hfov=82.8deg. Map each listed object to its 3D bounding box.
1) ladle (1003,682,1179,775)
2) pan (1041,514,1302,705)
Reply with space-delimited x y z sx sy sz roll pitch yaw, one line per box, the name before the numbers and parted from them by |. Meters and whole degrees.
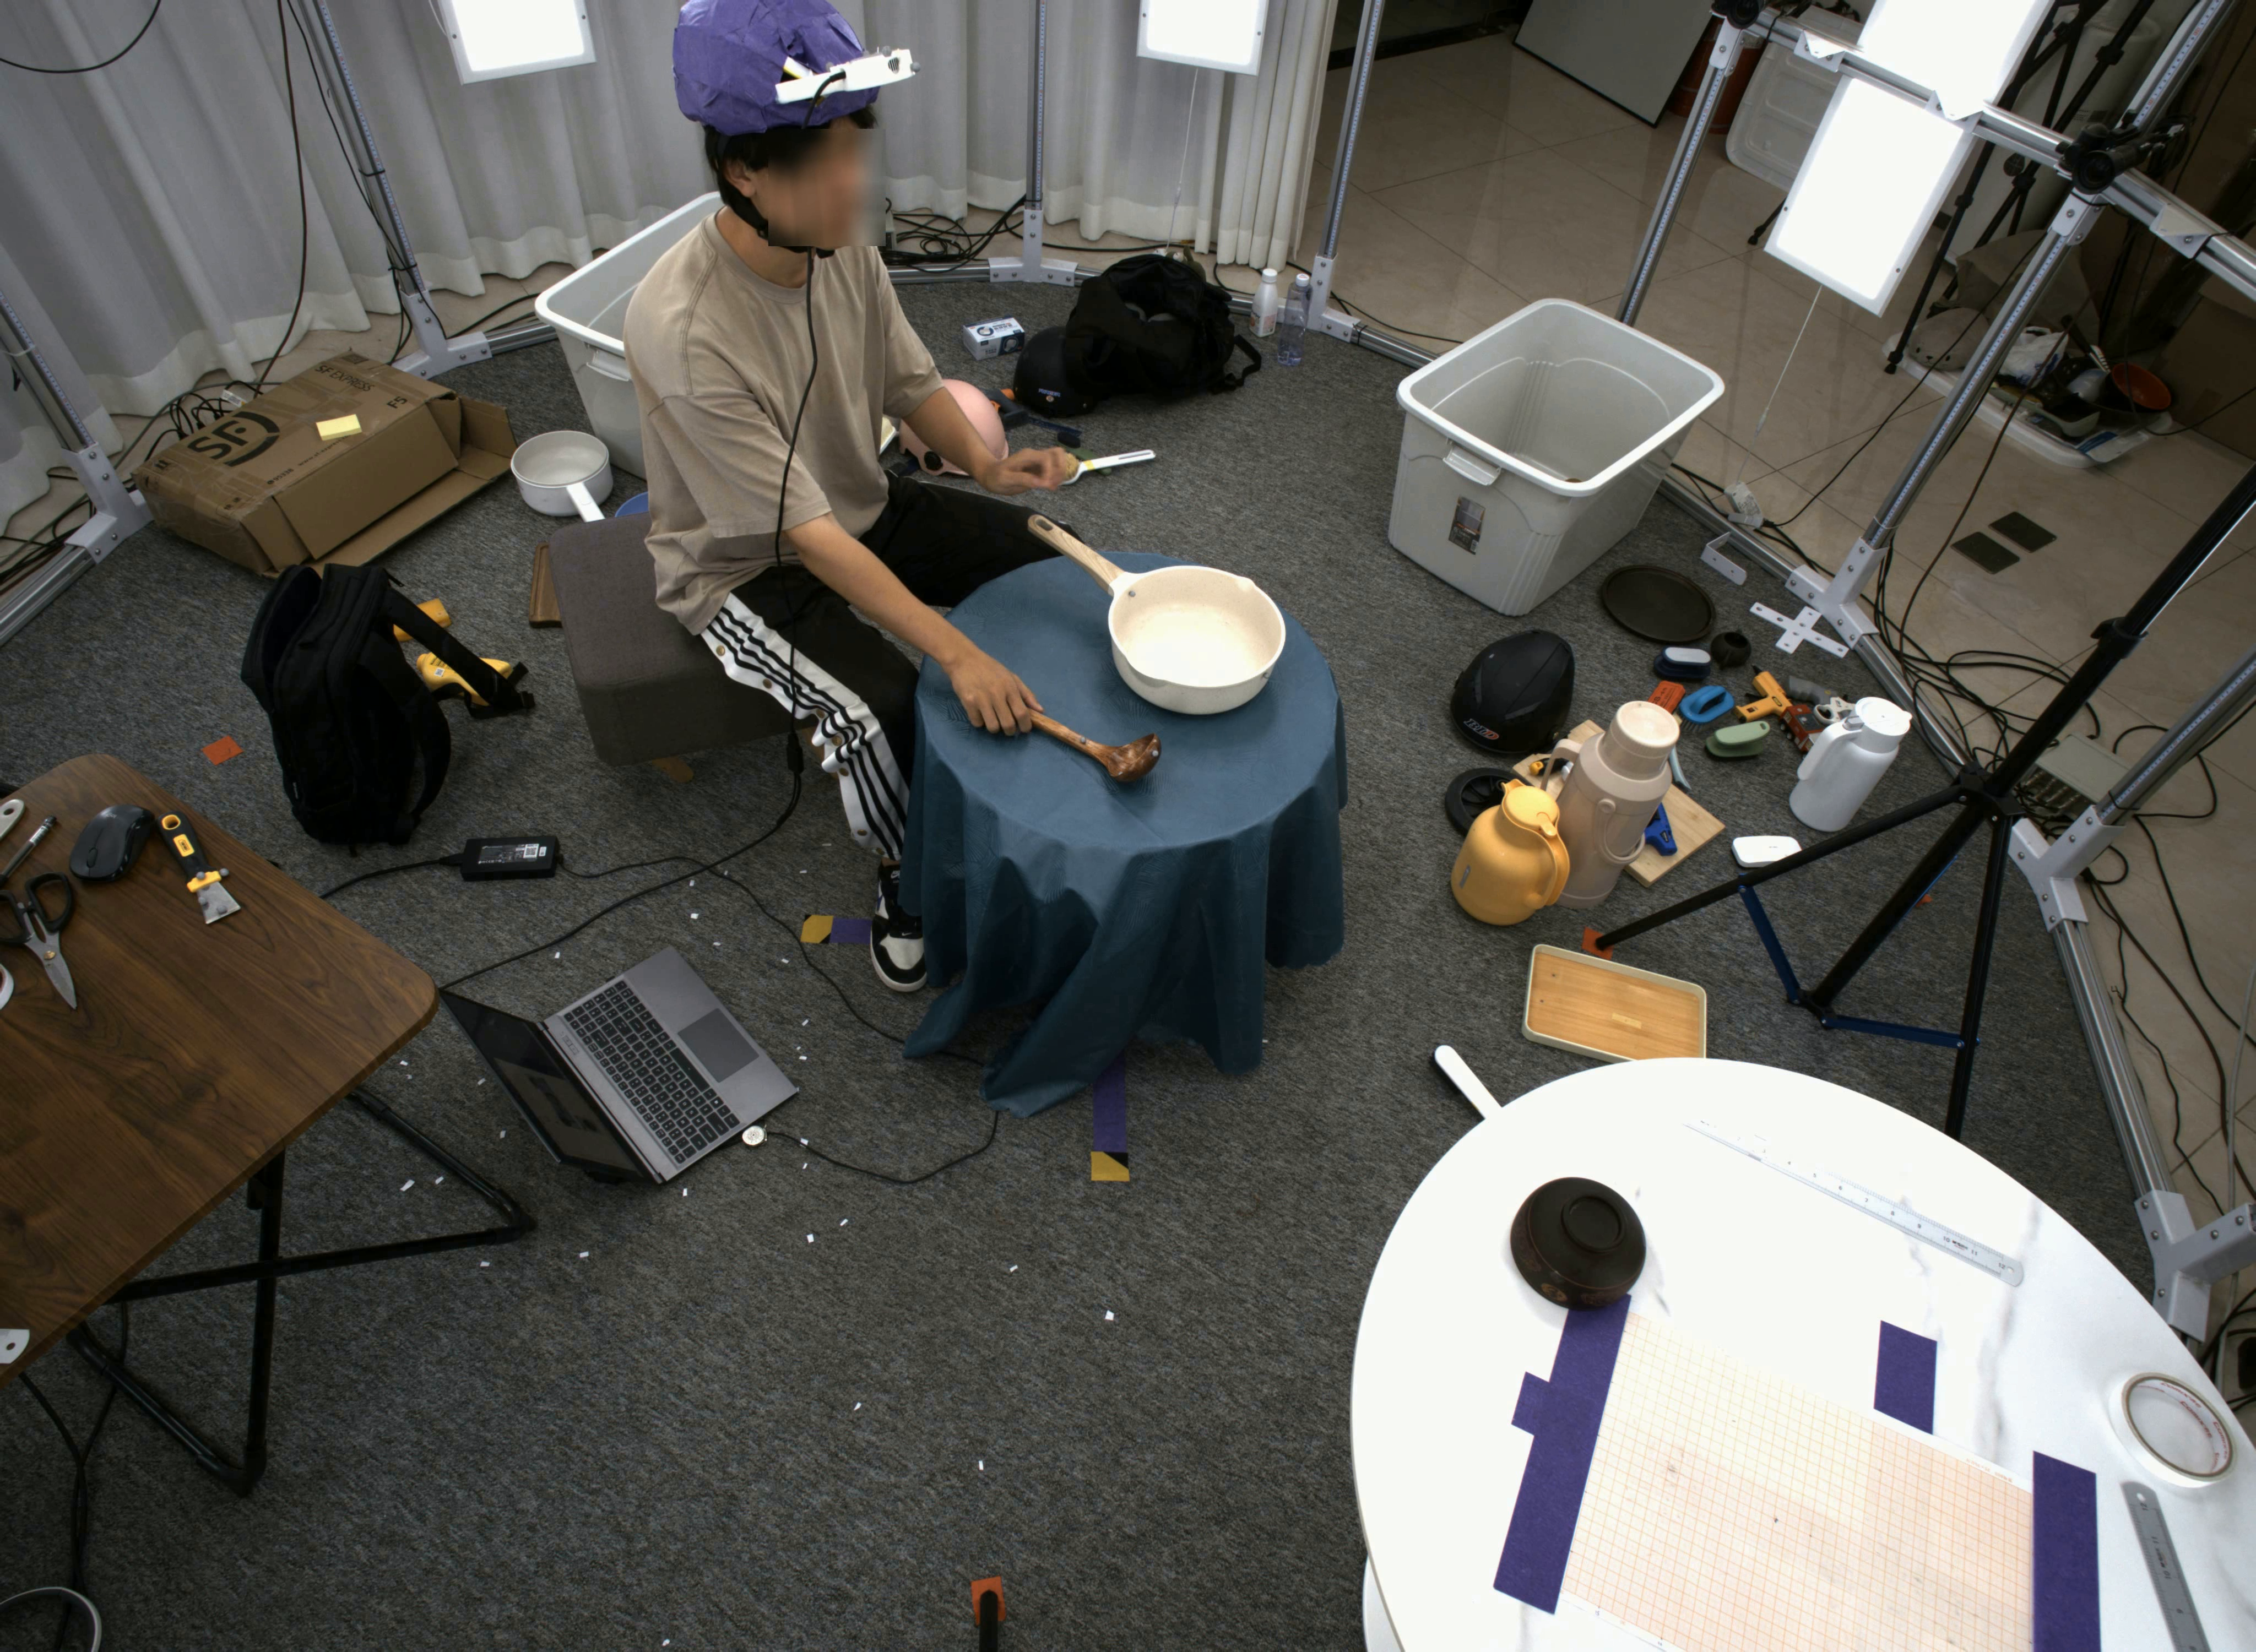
ladle | -0.057 -0.147 1.724 0.276 0.075 0.083 29 55 18
pan | 0.047 -0.325 1.878 0.440 0.099 0.266 32 55 22
